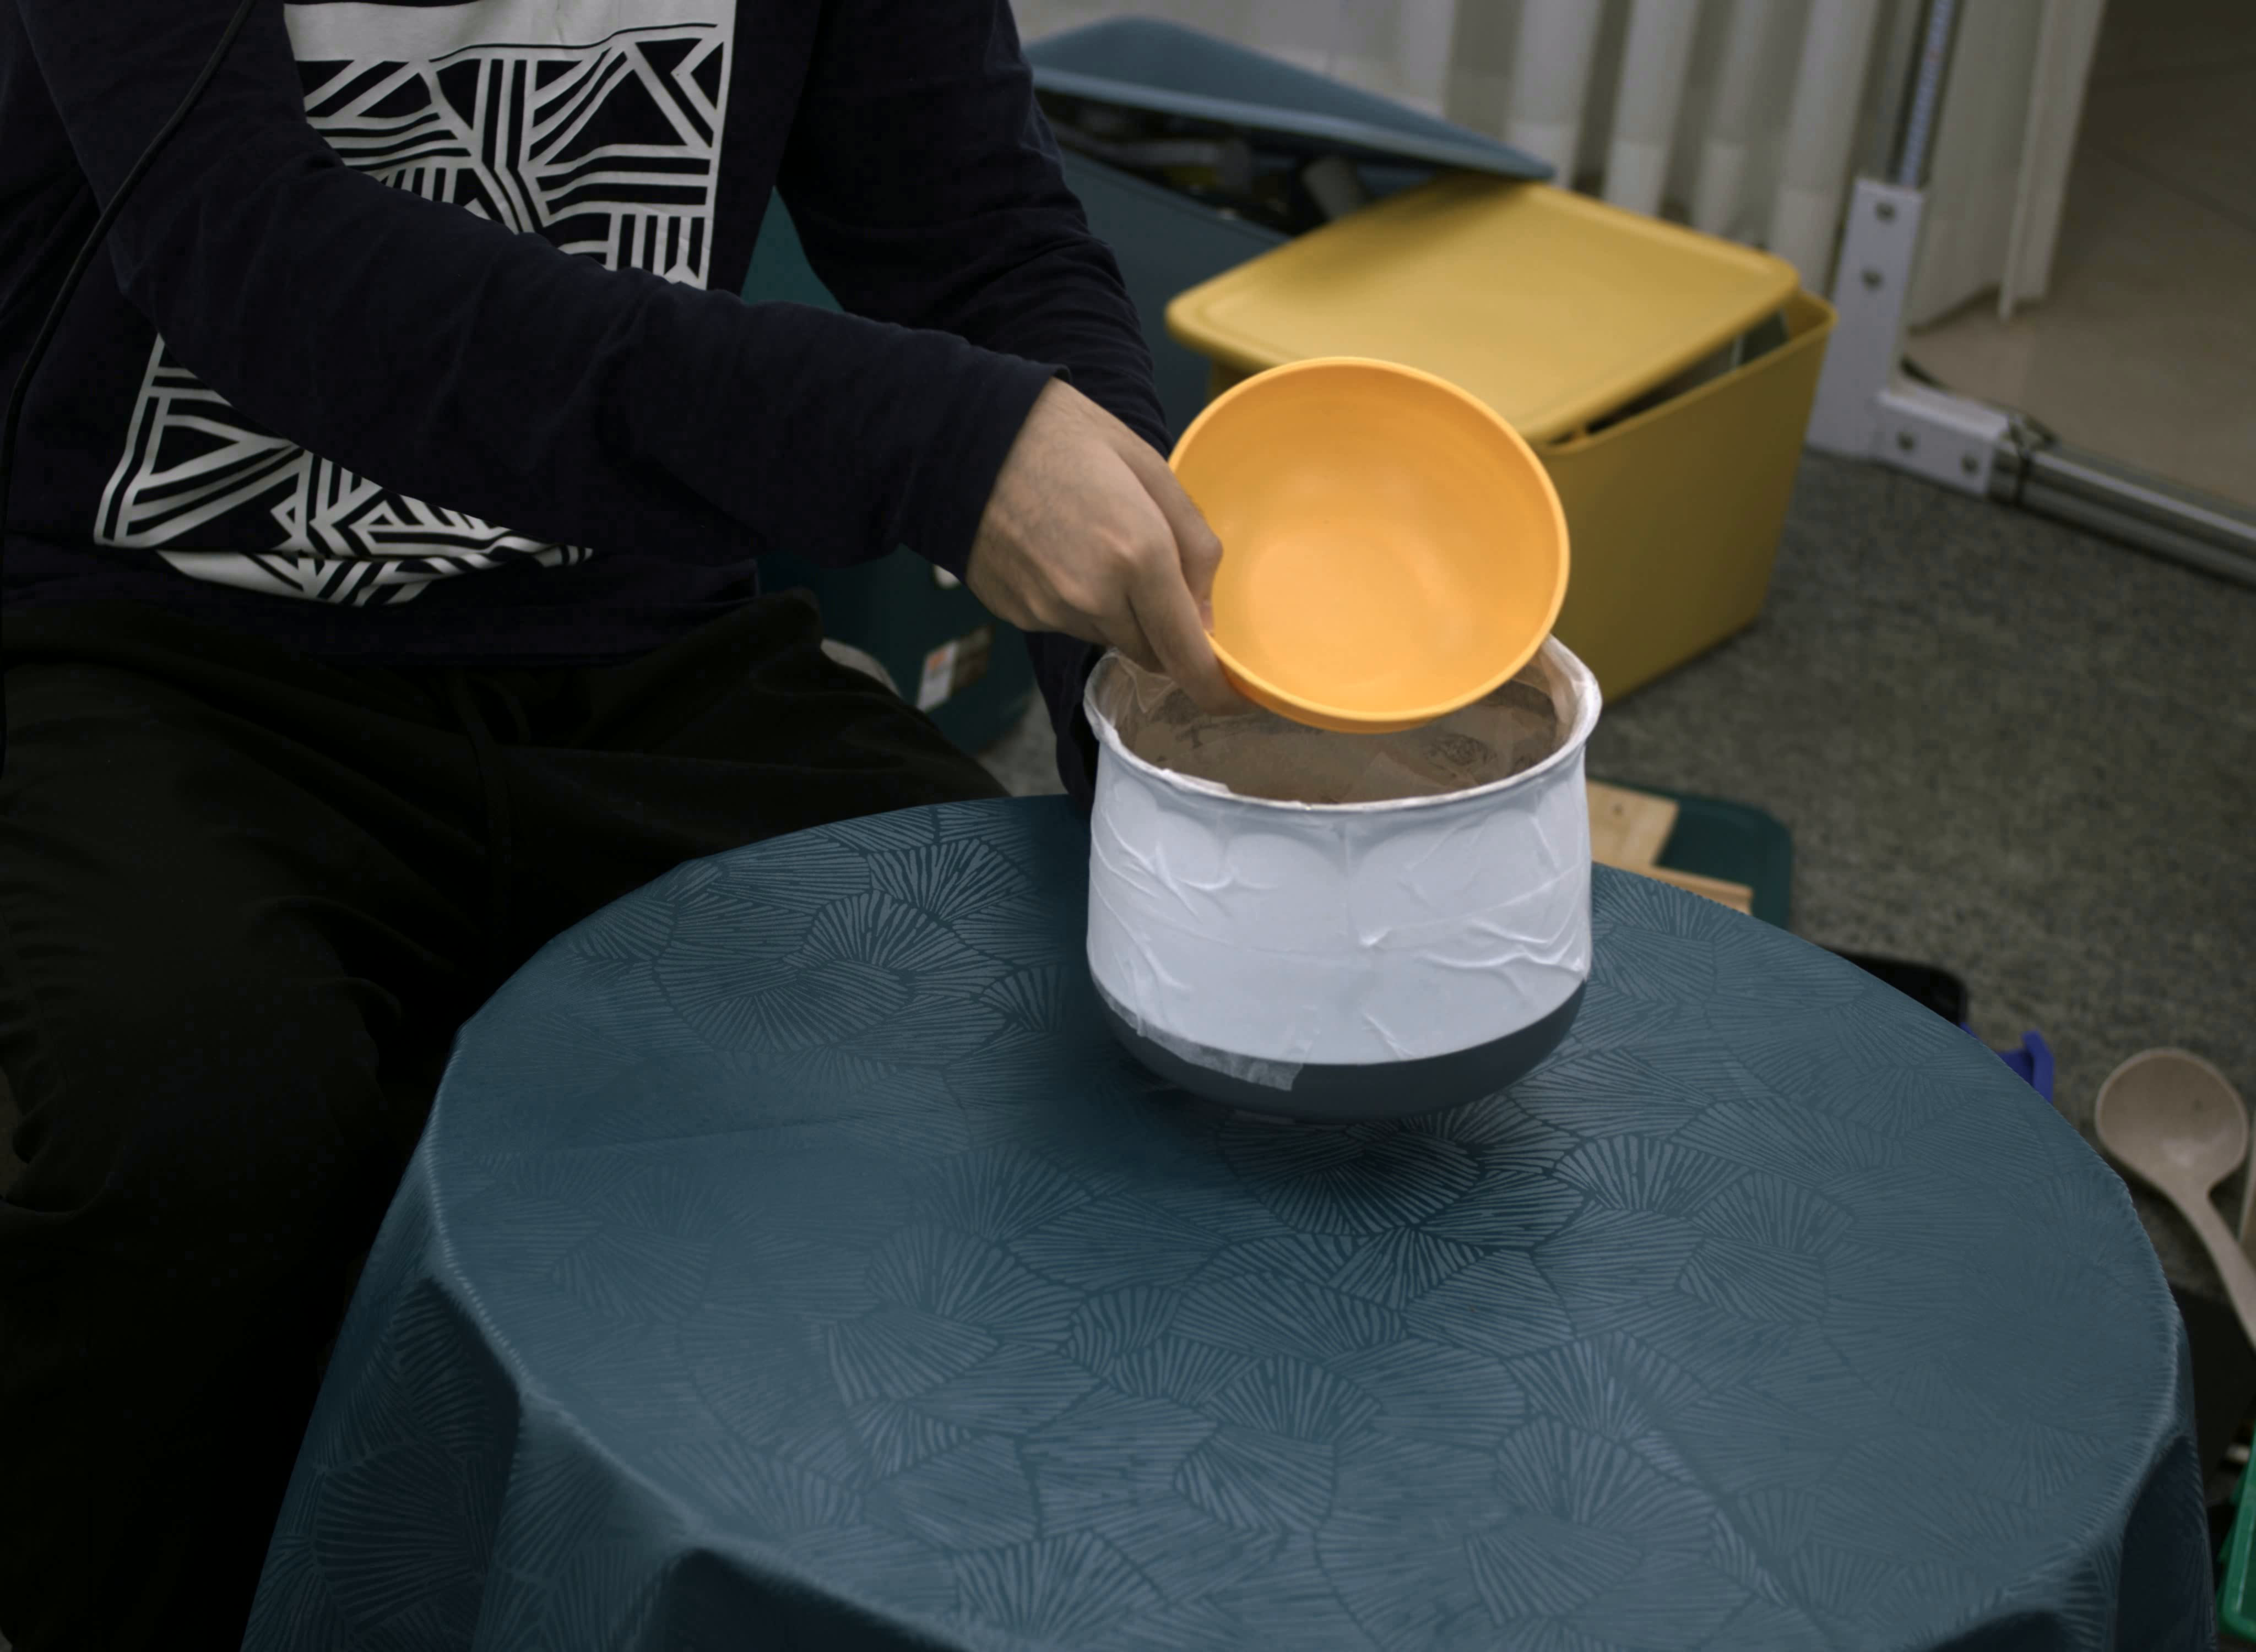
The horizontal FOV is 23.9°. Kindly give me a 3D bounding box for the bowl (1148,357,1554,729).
[{"bbox_3d":[0.072,-0.088,1.856,0.144,0.060,0.146,5,60,-9],"label":"bowl"}]

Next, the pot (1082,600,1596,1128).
[{"bbox_3d":[0.063,0.003,1.871,0.178,0.136,0.235,-11,26,-19],"label":"pot"}]
